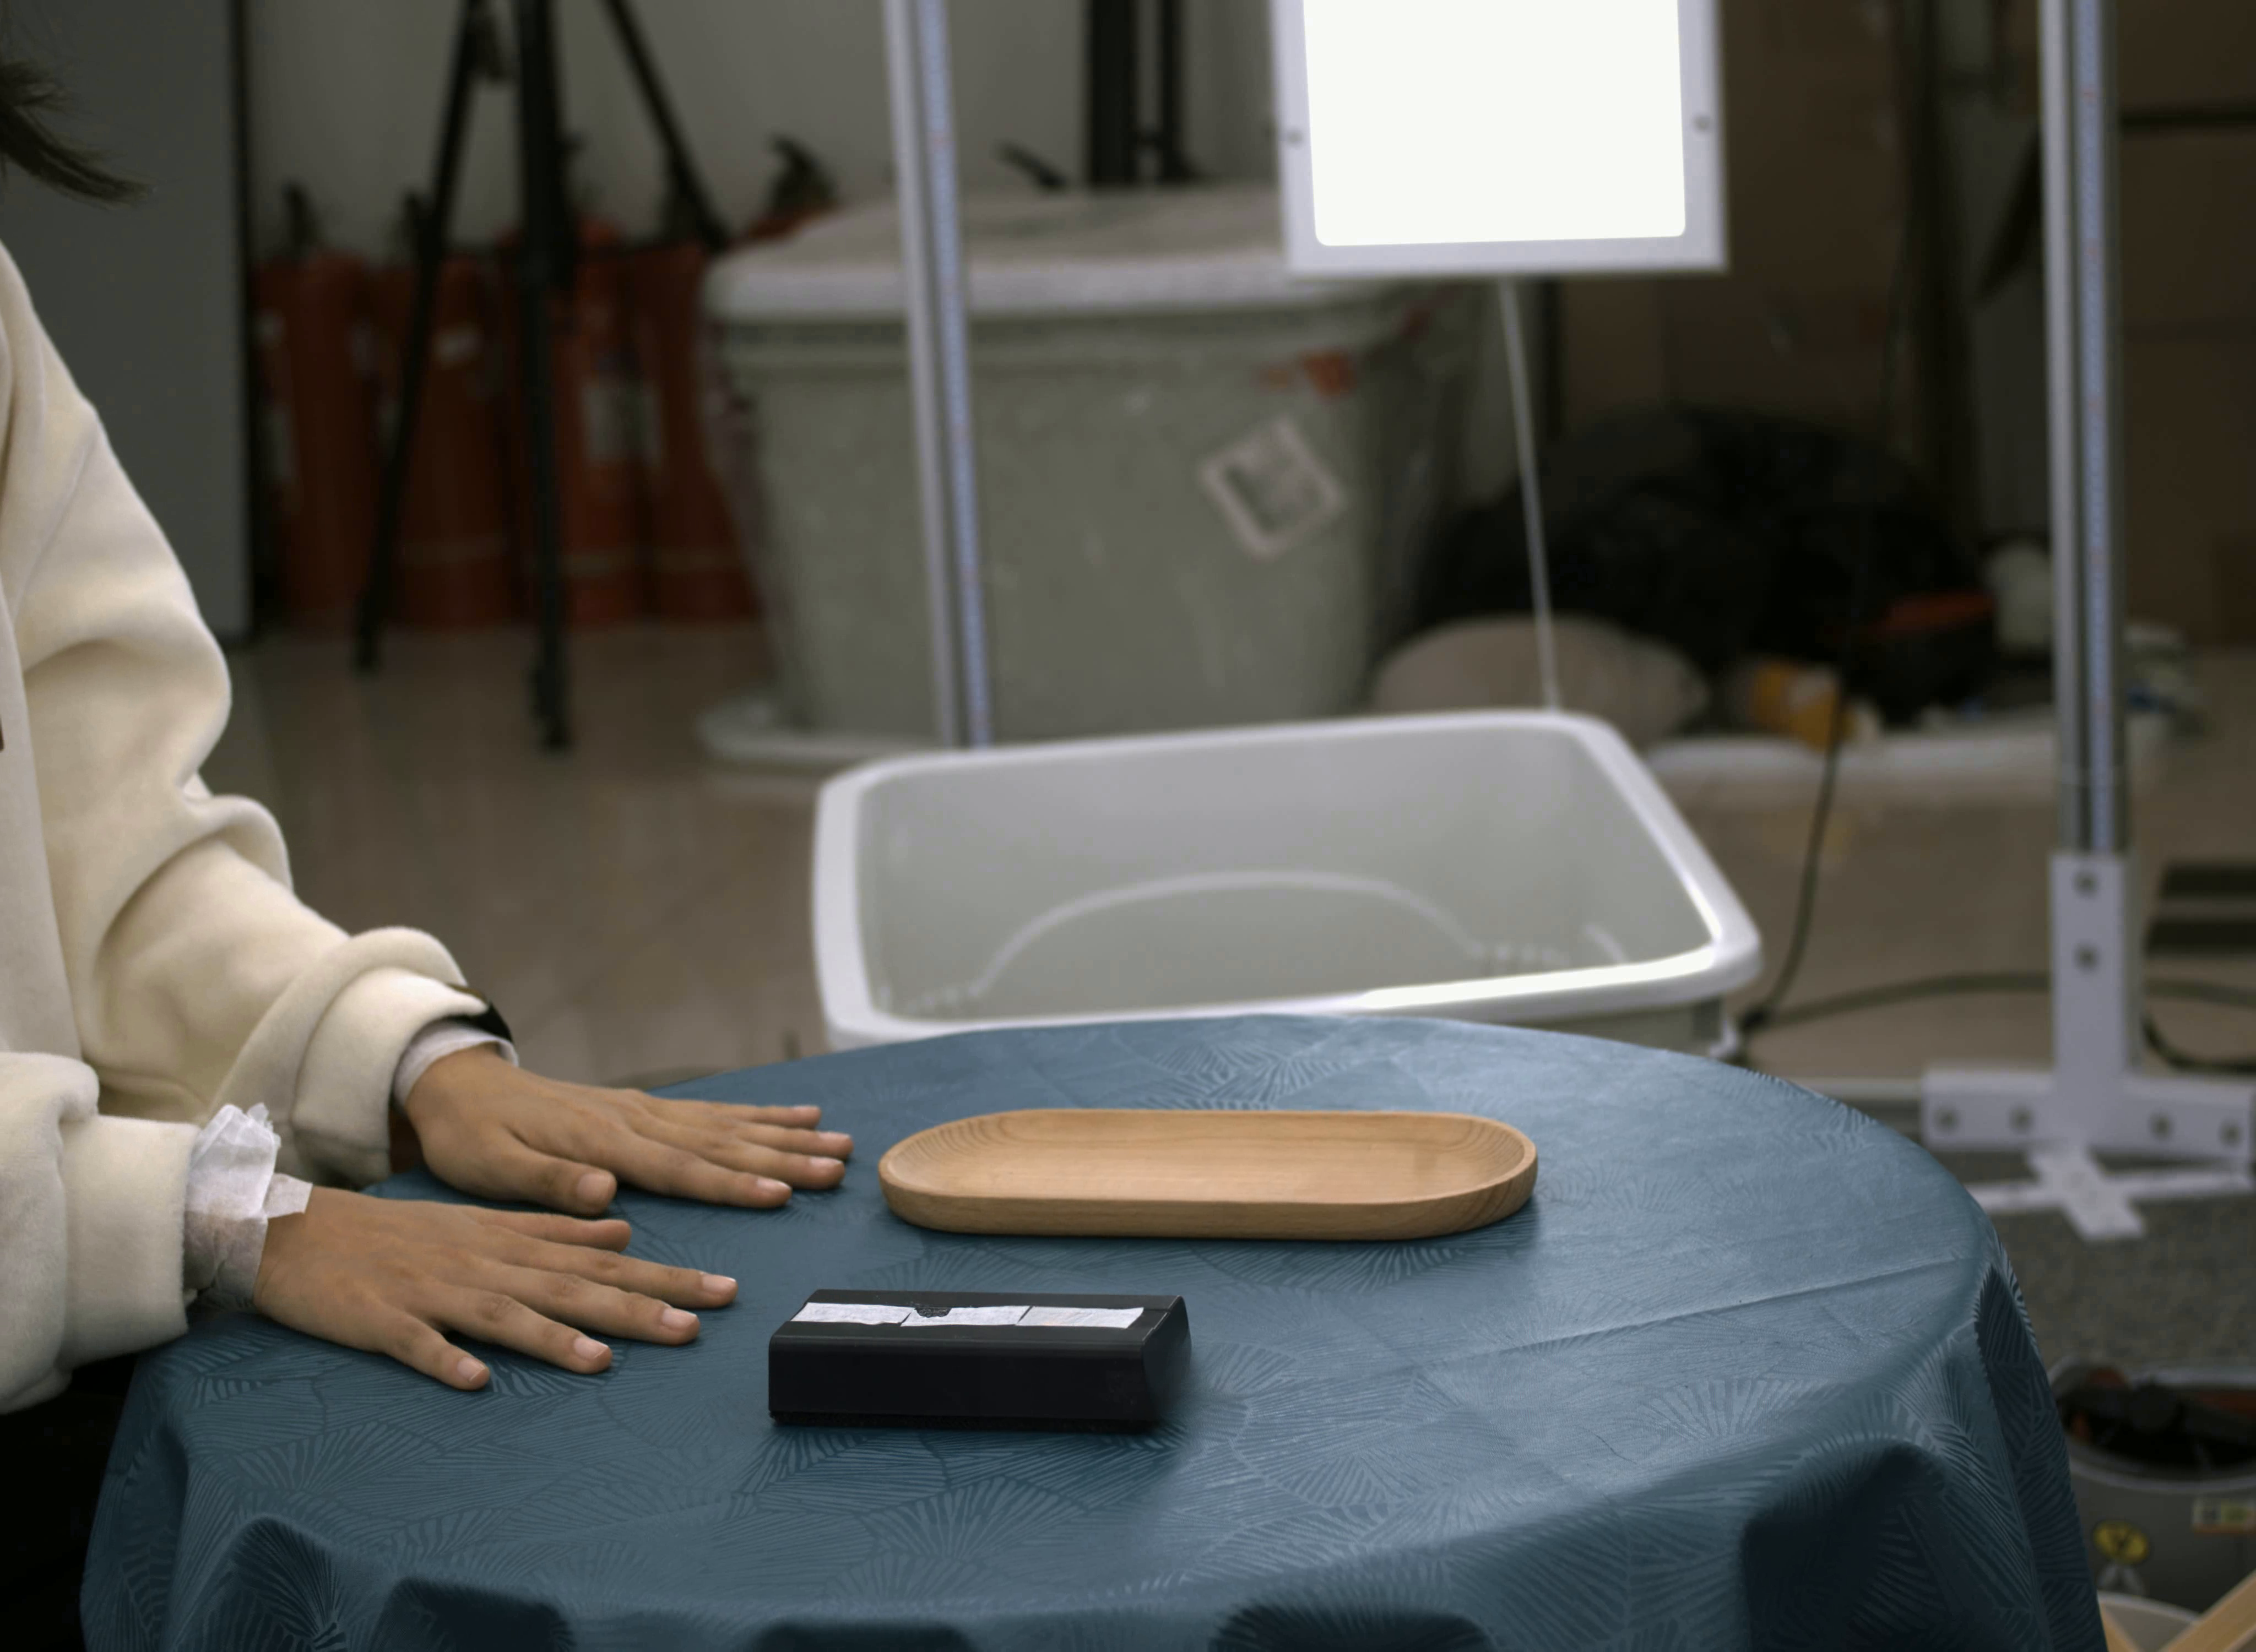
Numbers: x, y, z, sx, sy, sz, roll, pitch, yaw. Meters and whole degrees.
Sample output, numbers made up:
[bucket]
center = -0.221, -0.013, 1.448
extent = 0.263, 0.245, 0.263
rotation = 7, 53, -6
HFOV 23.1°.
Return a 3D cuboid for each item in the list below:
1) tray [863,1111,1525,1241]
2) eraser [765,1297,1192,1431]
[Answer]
[tray]
center = 0.022, 0.120, 1.882
extent = 0.234, 0.020, 0.100
rotation = -3, 13, 17
[eraser]
center = -0.045, 0.165, 1.698
extent = 0.127, 0.030, 0.052
rotation = 0, 9, 18
